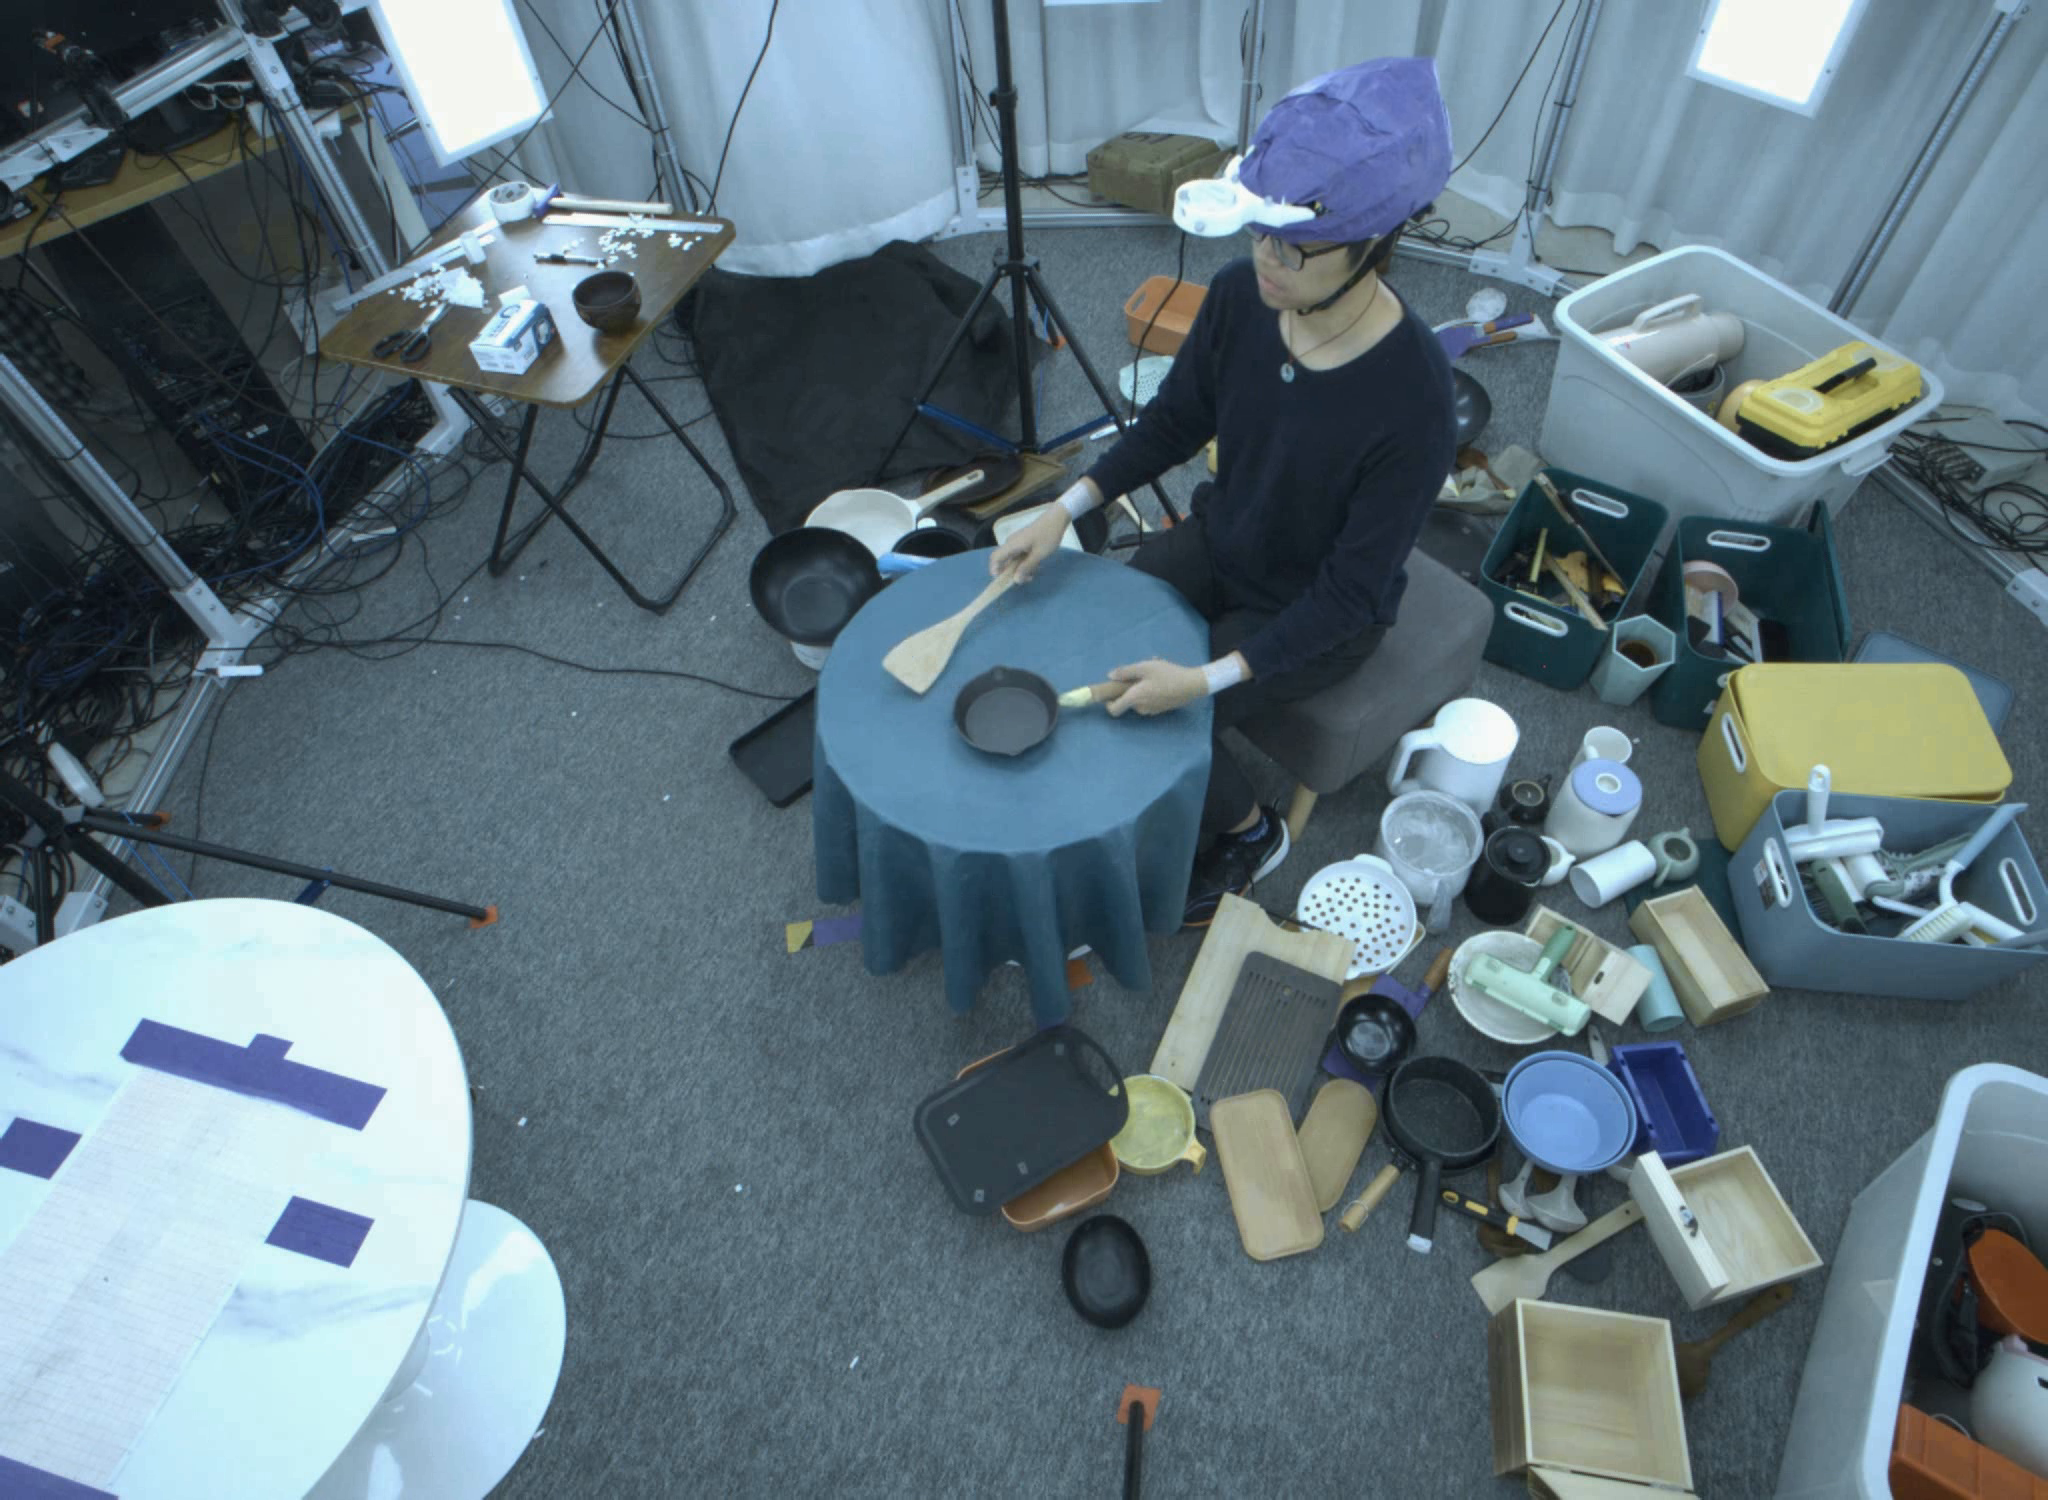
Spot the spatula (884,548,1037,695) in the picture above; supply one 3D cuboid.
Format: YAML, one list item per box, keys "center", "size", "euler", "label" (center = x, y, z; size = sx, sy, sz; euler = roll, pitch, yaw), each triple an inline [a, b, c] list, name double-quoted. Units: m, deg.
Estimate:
- center: [-0.085, -0.208, 1.891]
  size: [0.080, 0.016, 0.329]
  euler: [48, 66, -12]
  label: "spatula"

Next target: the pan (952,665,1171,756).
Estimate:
- center: [0.057, -0.069, 1.802]
  size: [0.325, 0.050, 0.166]
  euler: [-9, 55, -2]
  label: "pan"
